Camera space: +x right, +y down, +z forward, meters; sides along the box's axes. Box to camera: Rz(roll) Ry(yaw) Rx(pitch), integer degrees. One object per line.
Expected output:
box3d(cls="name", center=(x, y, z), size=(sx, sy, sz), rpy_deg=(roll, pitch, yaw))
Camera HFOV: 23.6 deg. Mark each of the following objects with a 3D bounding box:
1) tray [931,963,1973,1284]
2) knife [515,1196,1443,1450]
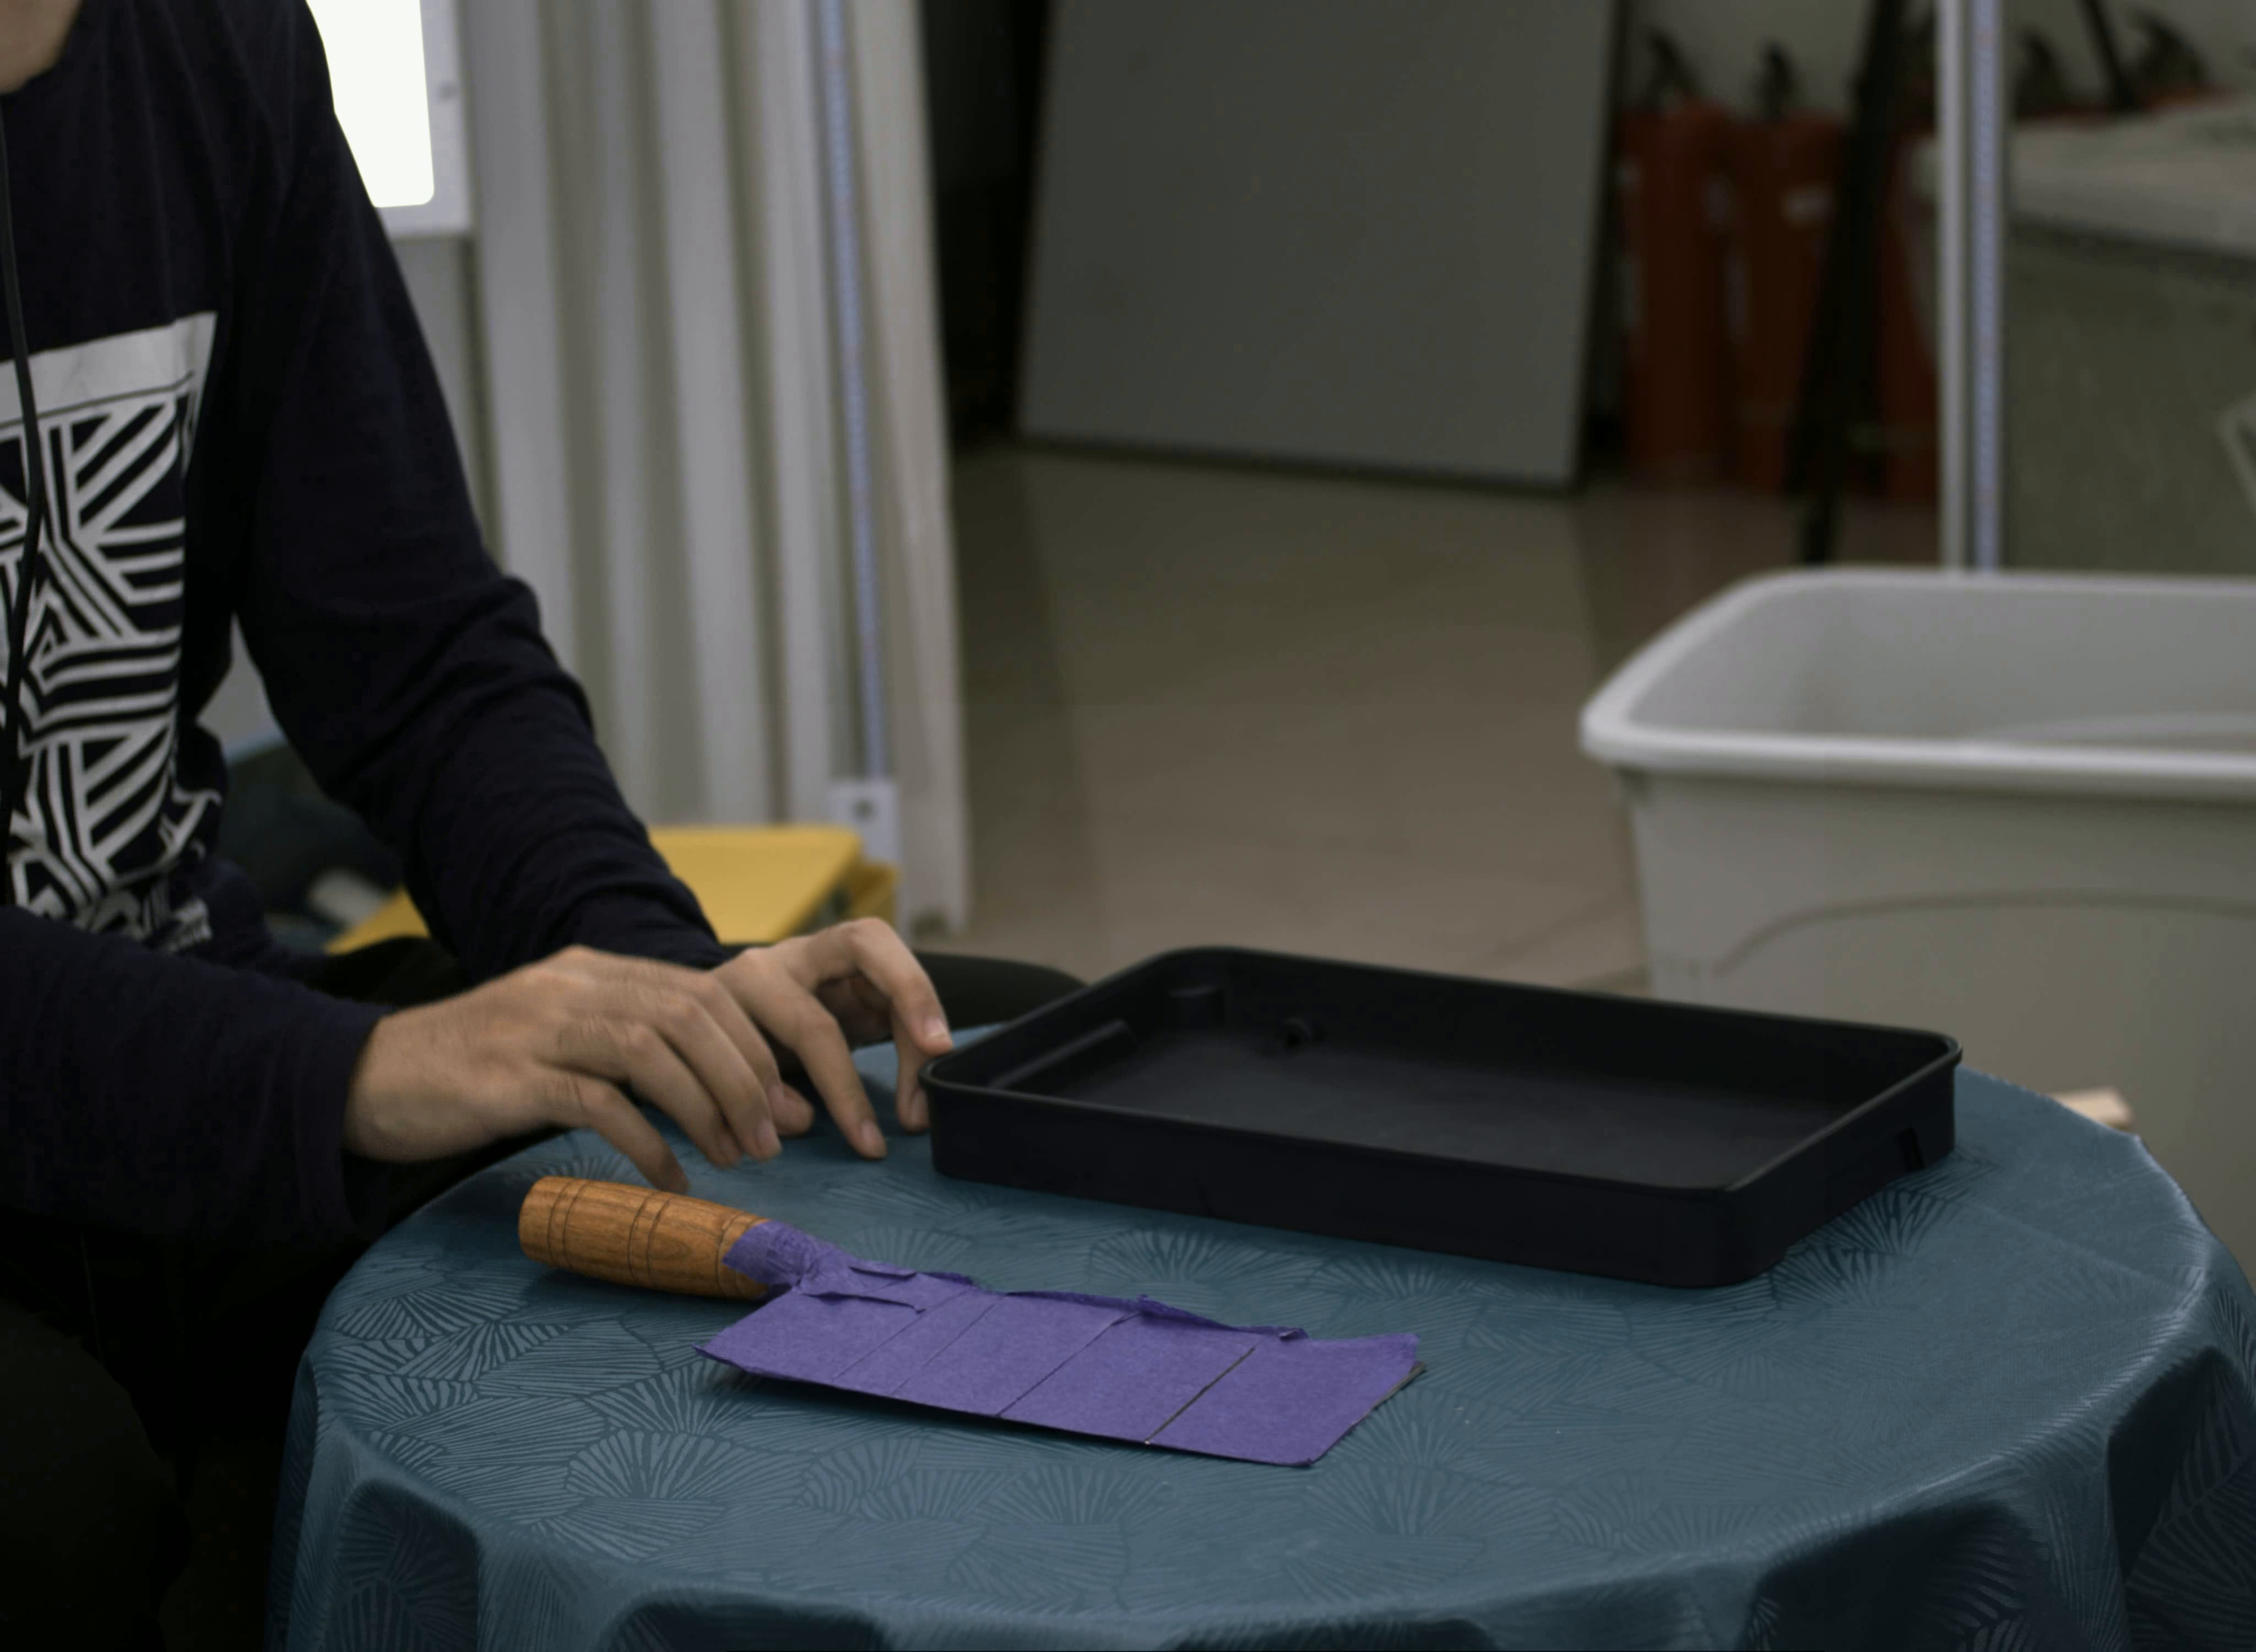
box3d(cls="tray", center=(0.107, 0.095, 1.783), size=(0.320, 0.037, 0.181), rpy_deg=(3, 16, 34))
box3d(cls="knife", center=(-0.064, 0.149, 1.623), size=(0.316, 0.032, 0.102), rpy_deg=(4, 15, 29))
